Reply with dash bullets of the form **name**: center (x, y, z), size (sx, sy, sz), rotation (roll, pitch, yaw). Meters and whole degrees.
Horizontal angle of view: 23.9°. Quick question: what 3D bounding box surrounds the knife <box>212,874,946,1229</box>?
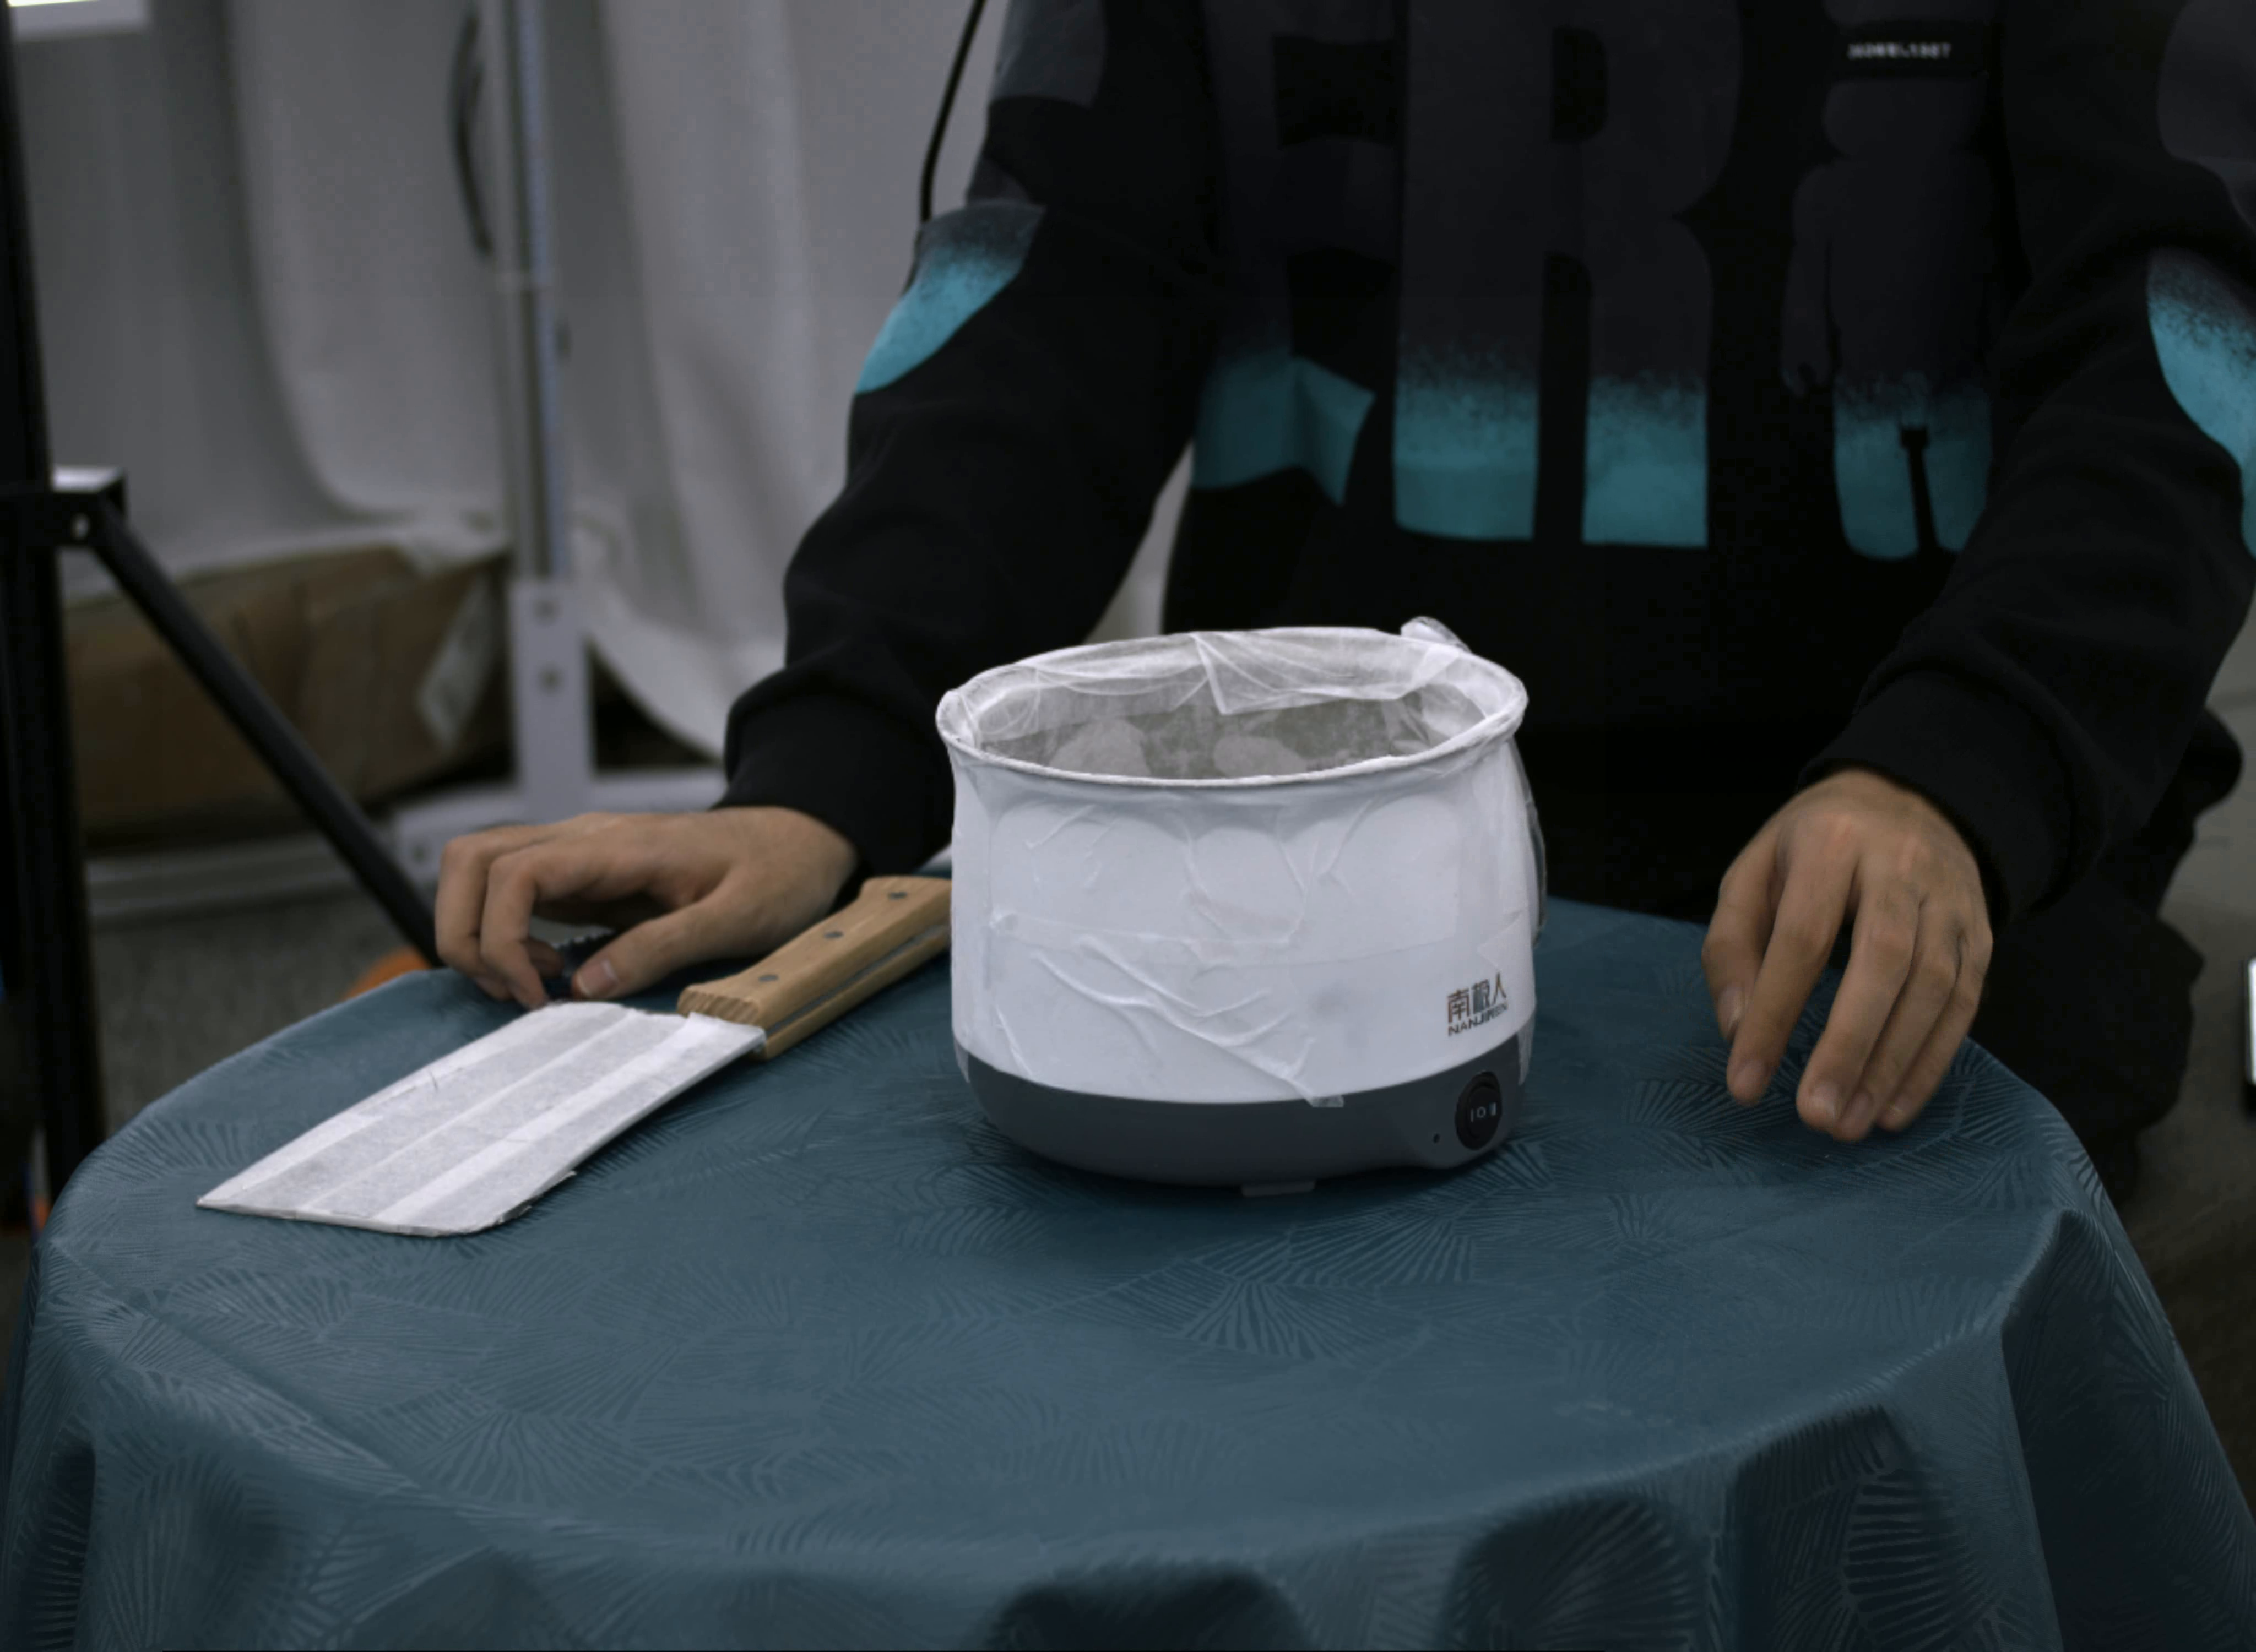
- **knife**: center (-0.155, 0.071, 1.683), size (0.116, 0.022, 0.309), rotation (7, 21, 33)

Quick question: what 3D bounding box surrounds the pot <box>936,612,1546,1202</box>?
- **pot**: center (0.050, 0.017, 1.617), size (0.182, 0.136, 0.229), rotation (10, 21, 37)
